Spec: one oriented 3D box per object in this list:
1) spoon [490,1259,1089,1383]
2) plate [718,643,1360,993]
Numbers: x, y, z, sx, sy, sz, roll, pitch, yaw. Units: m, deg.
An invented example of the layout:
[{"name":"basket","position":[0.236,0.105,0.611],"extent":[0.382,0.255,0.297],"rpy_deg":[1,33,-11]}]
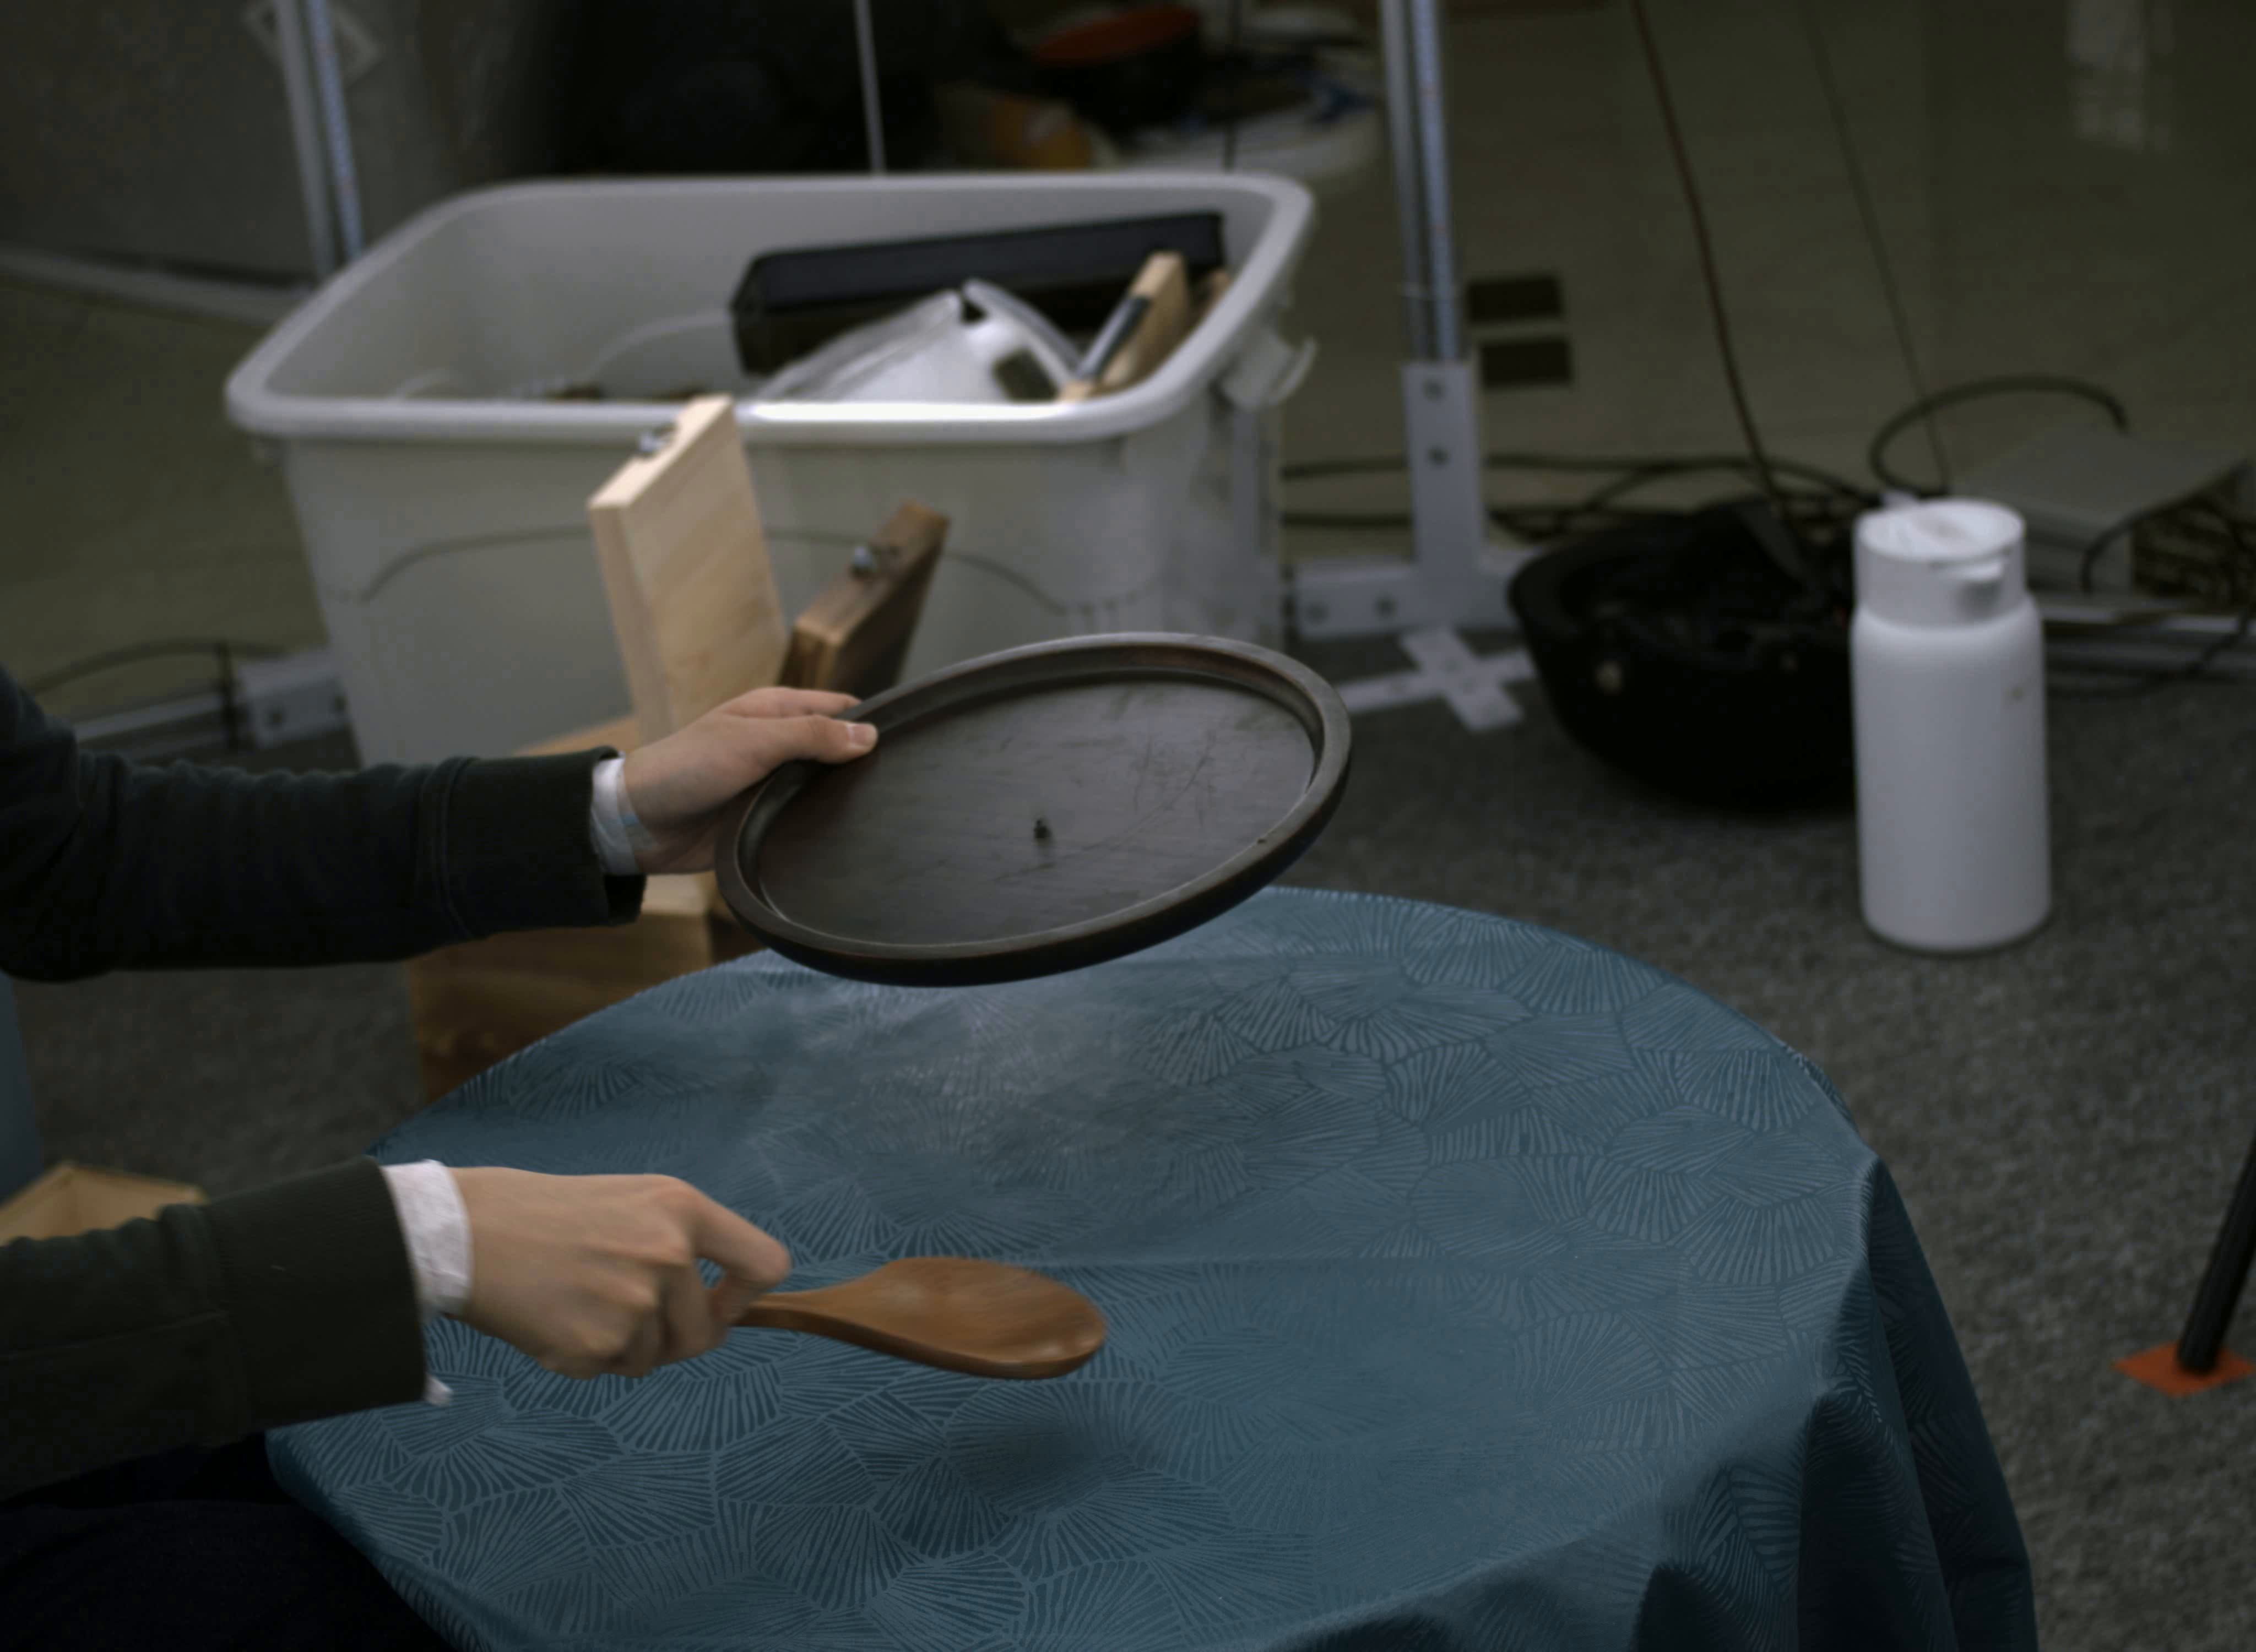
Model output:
[{"name":"spoon","position":[-0.114,0.168,1.939],"extent":[0.216,0.017,0.074],"rpy_deg":[6,22,-25]},{"name":"plate","position":[-0.034,-0.005,2.184],"extent":[0.254,0.029,0.251],"rpy_deg":[-10,28,5]}]
